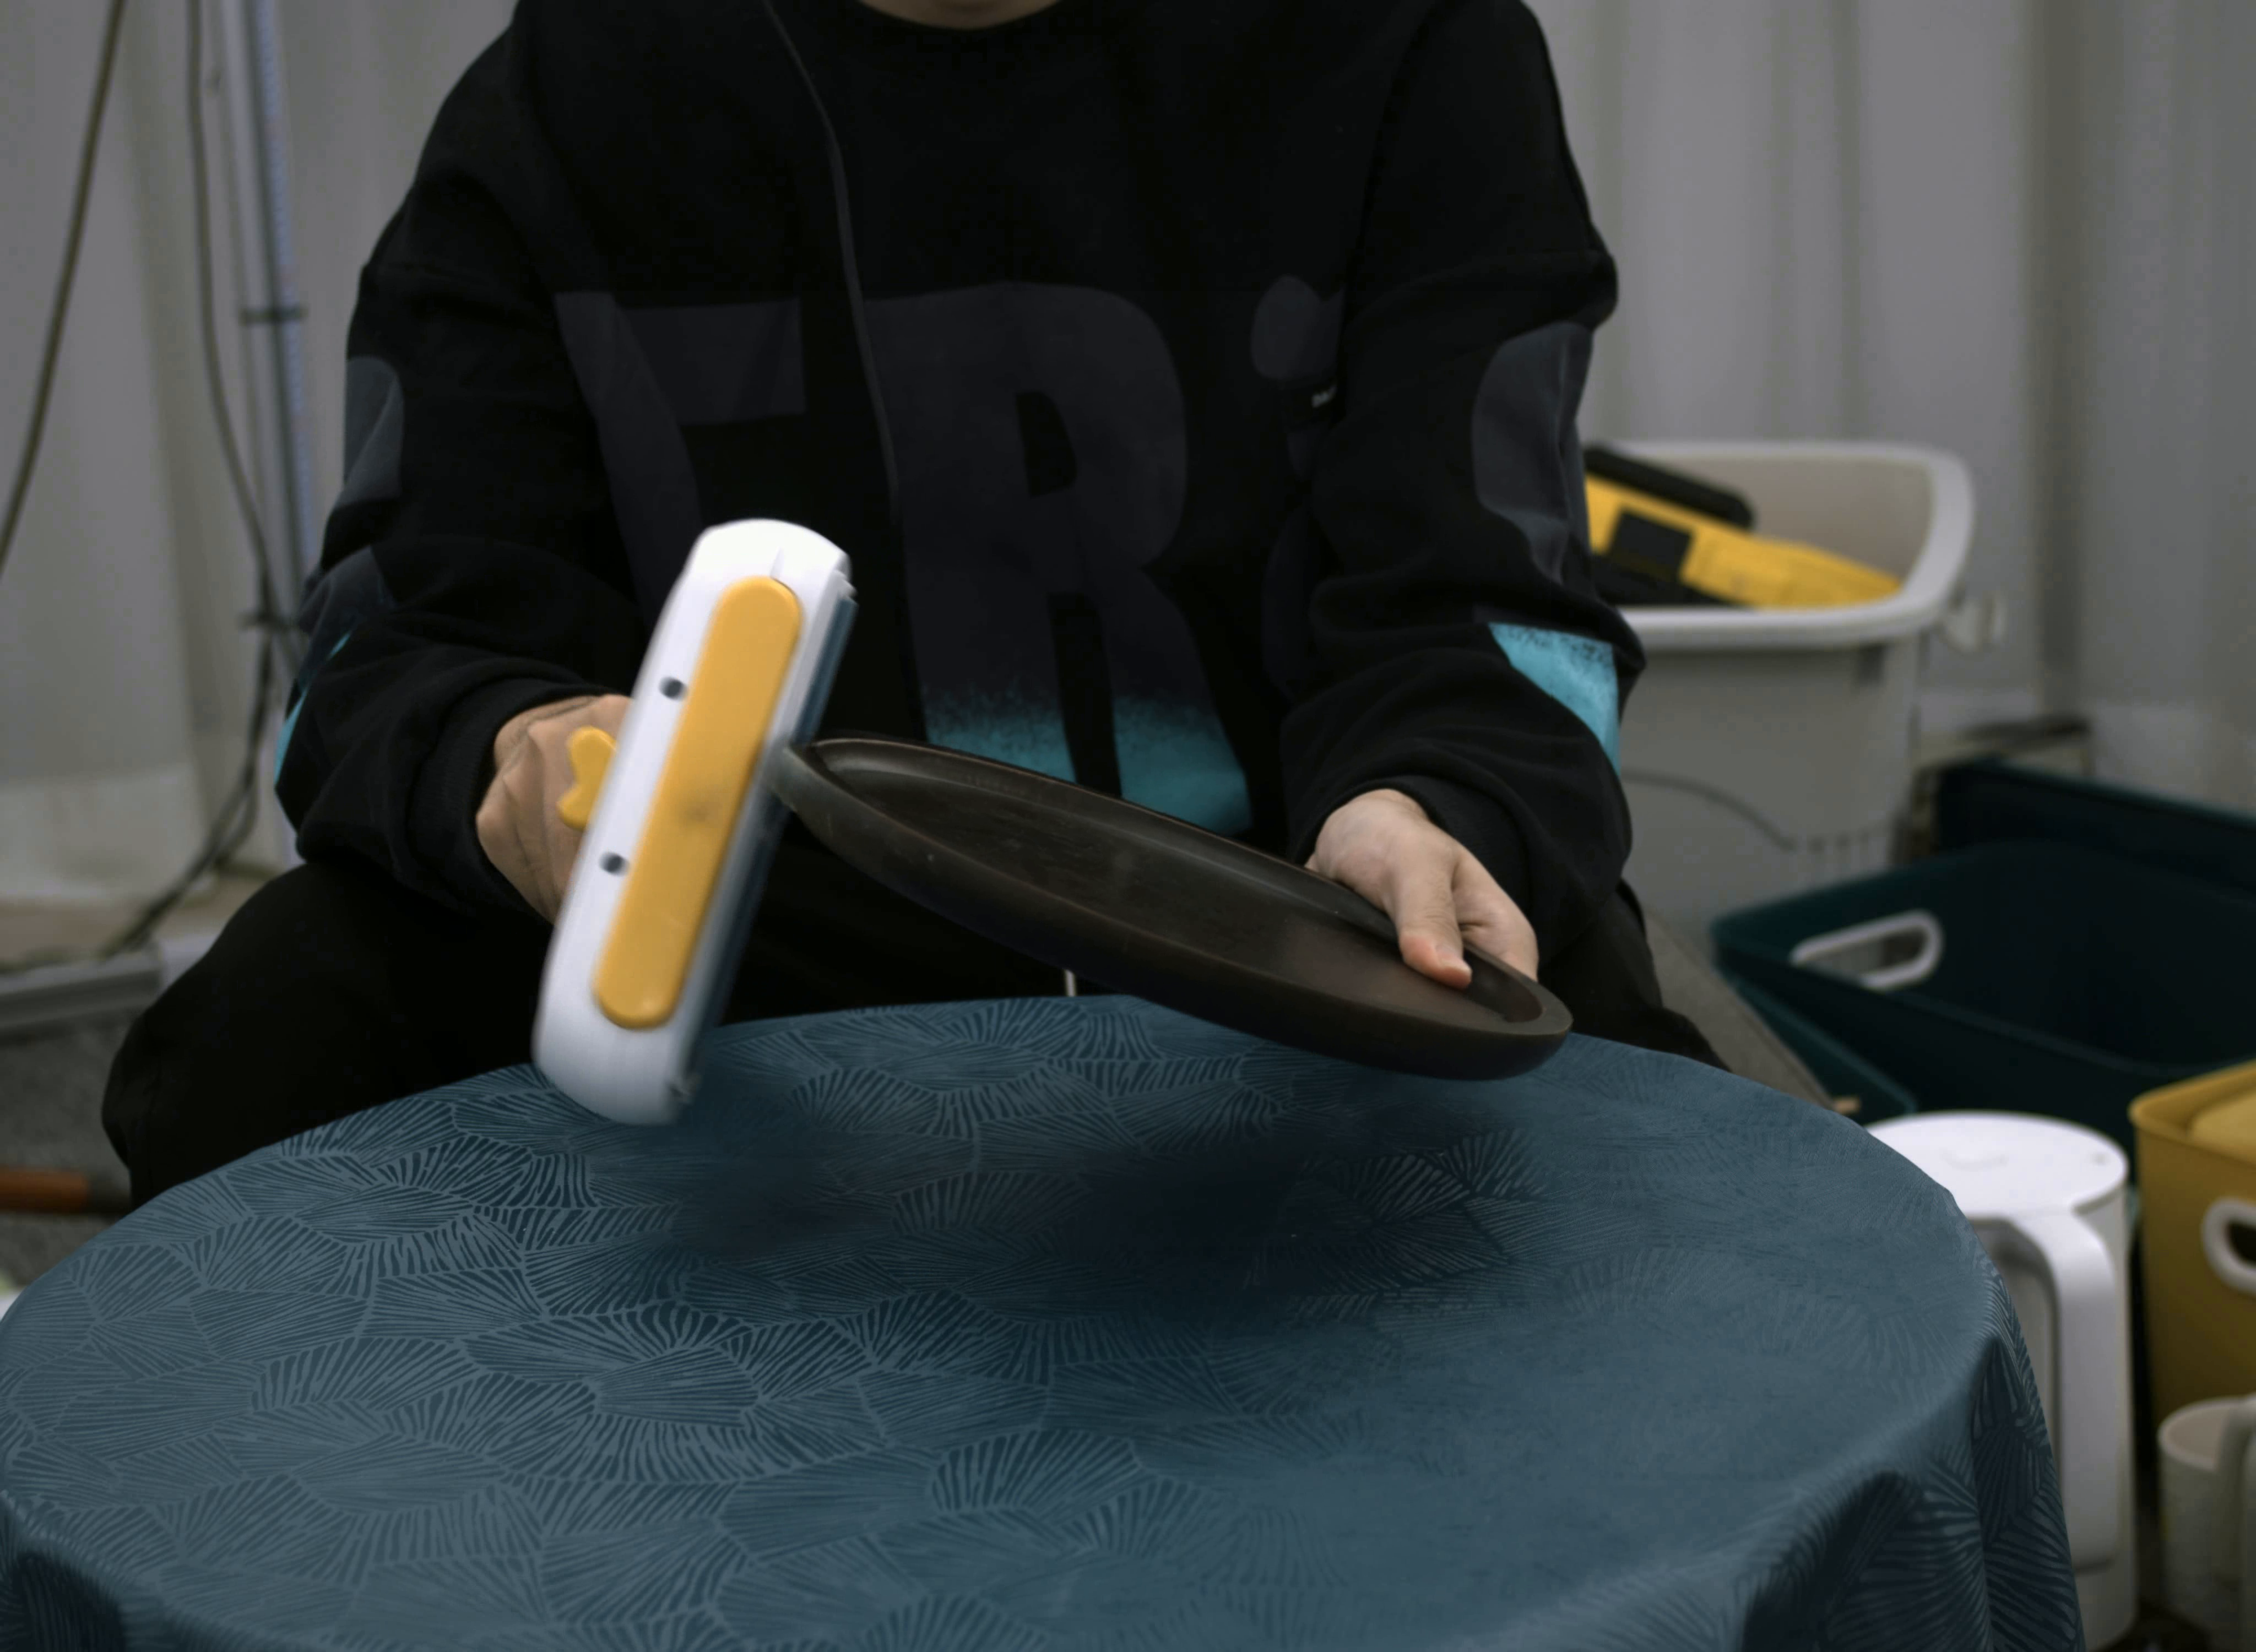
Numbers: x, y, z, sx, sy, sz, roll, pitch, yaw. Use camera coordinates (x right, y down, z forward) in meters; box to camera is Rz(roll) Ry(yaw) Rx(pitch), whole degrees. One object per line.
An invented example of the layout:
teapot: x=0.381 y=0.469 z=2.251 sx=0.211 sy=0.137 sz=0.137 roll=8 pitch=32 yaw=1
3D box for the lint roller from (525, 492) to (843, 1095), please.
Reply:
lint roller: x=-0.151 y=0.000 z=1.747 sx=0.074 sy=0.194 sz=0.191 roll=15 pitch=-16 yaw=-5

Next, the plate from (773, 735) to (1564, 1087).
plate: x=0.011 y=0.025 z=1.658 sx=0.254 sy=0.029 sz=0.255 roll=19 pitch=7 yaw=-2
